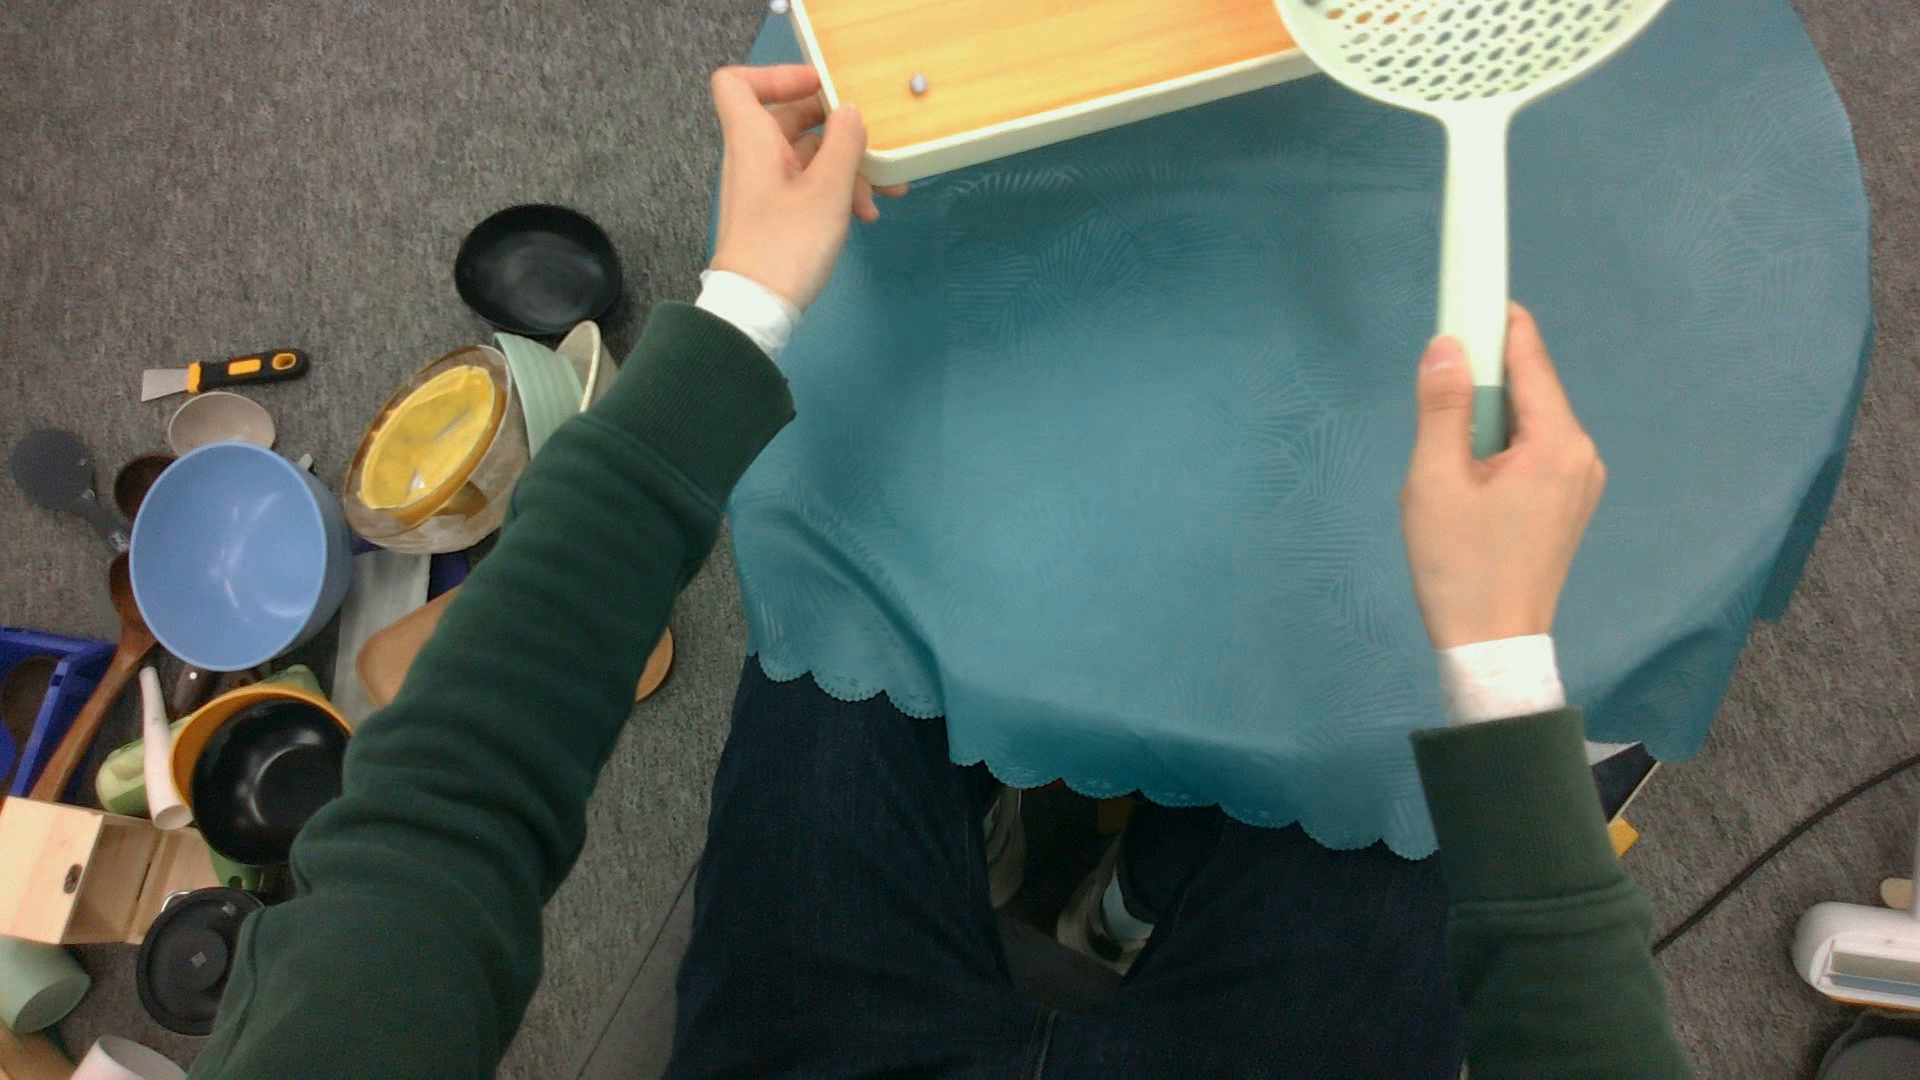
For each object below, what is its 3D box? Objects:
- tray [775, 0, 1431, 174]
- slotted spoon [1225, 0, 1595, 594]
[{"bbox_3d":[0.057,-0.291,0.646,0.301,0.027,0.192,-18,77,-11],"label":"tray"},{"bbox_3d":[0.184,-0.161,0.545,0.169,0.075,0.359,-2,73,24],"label":"slotted spoon"}]
